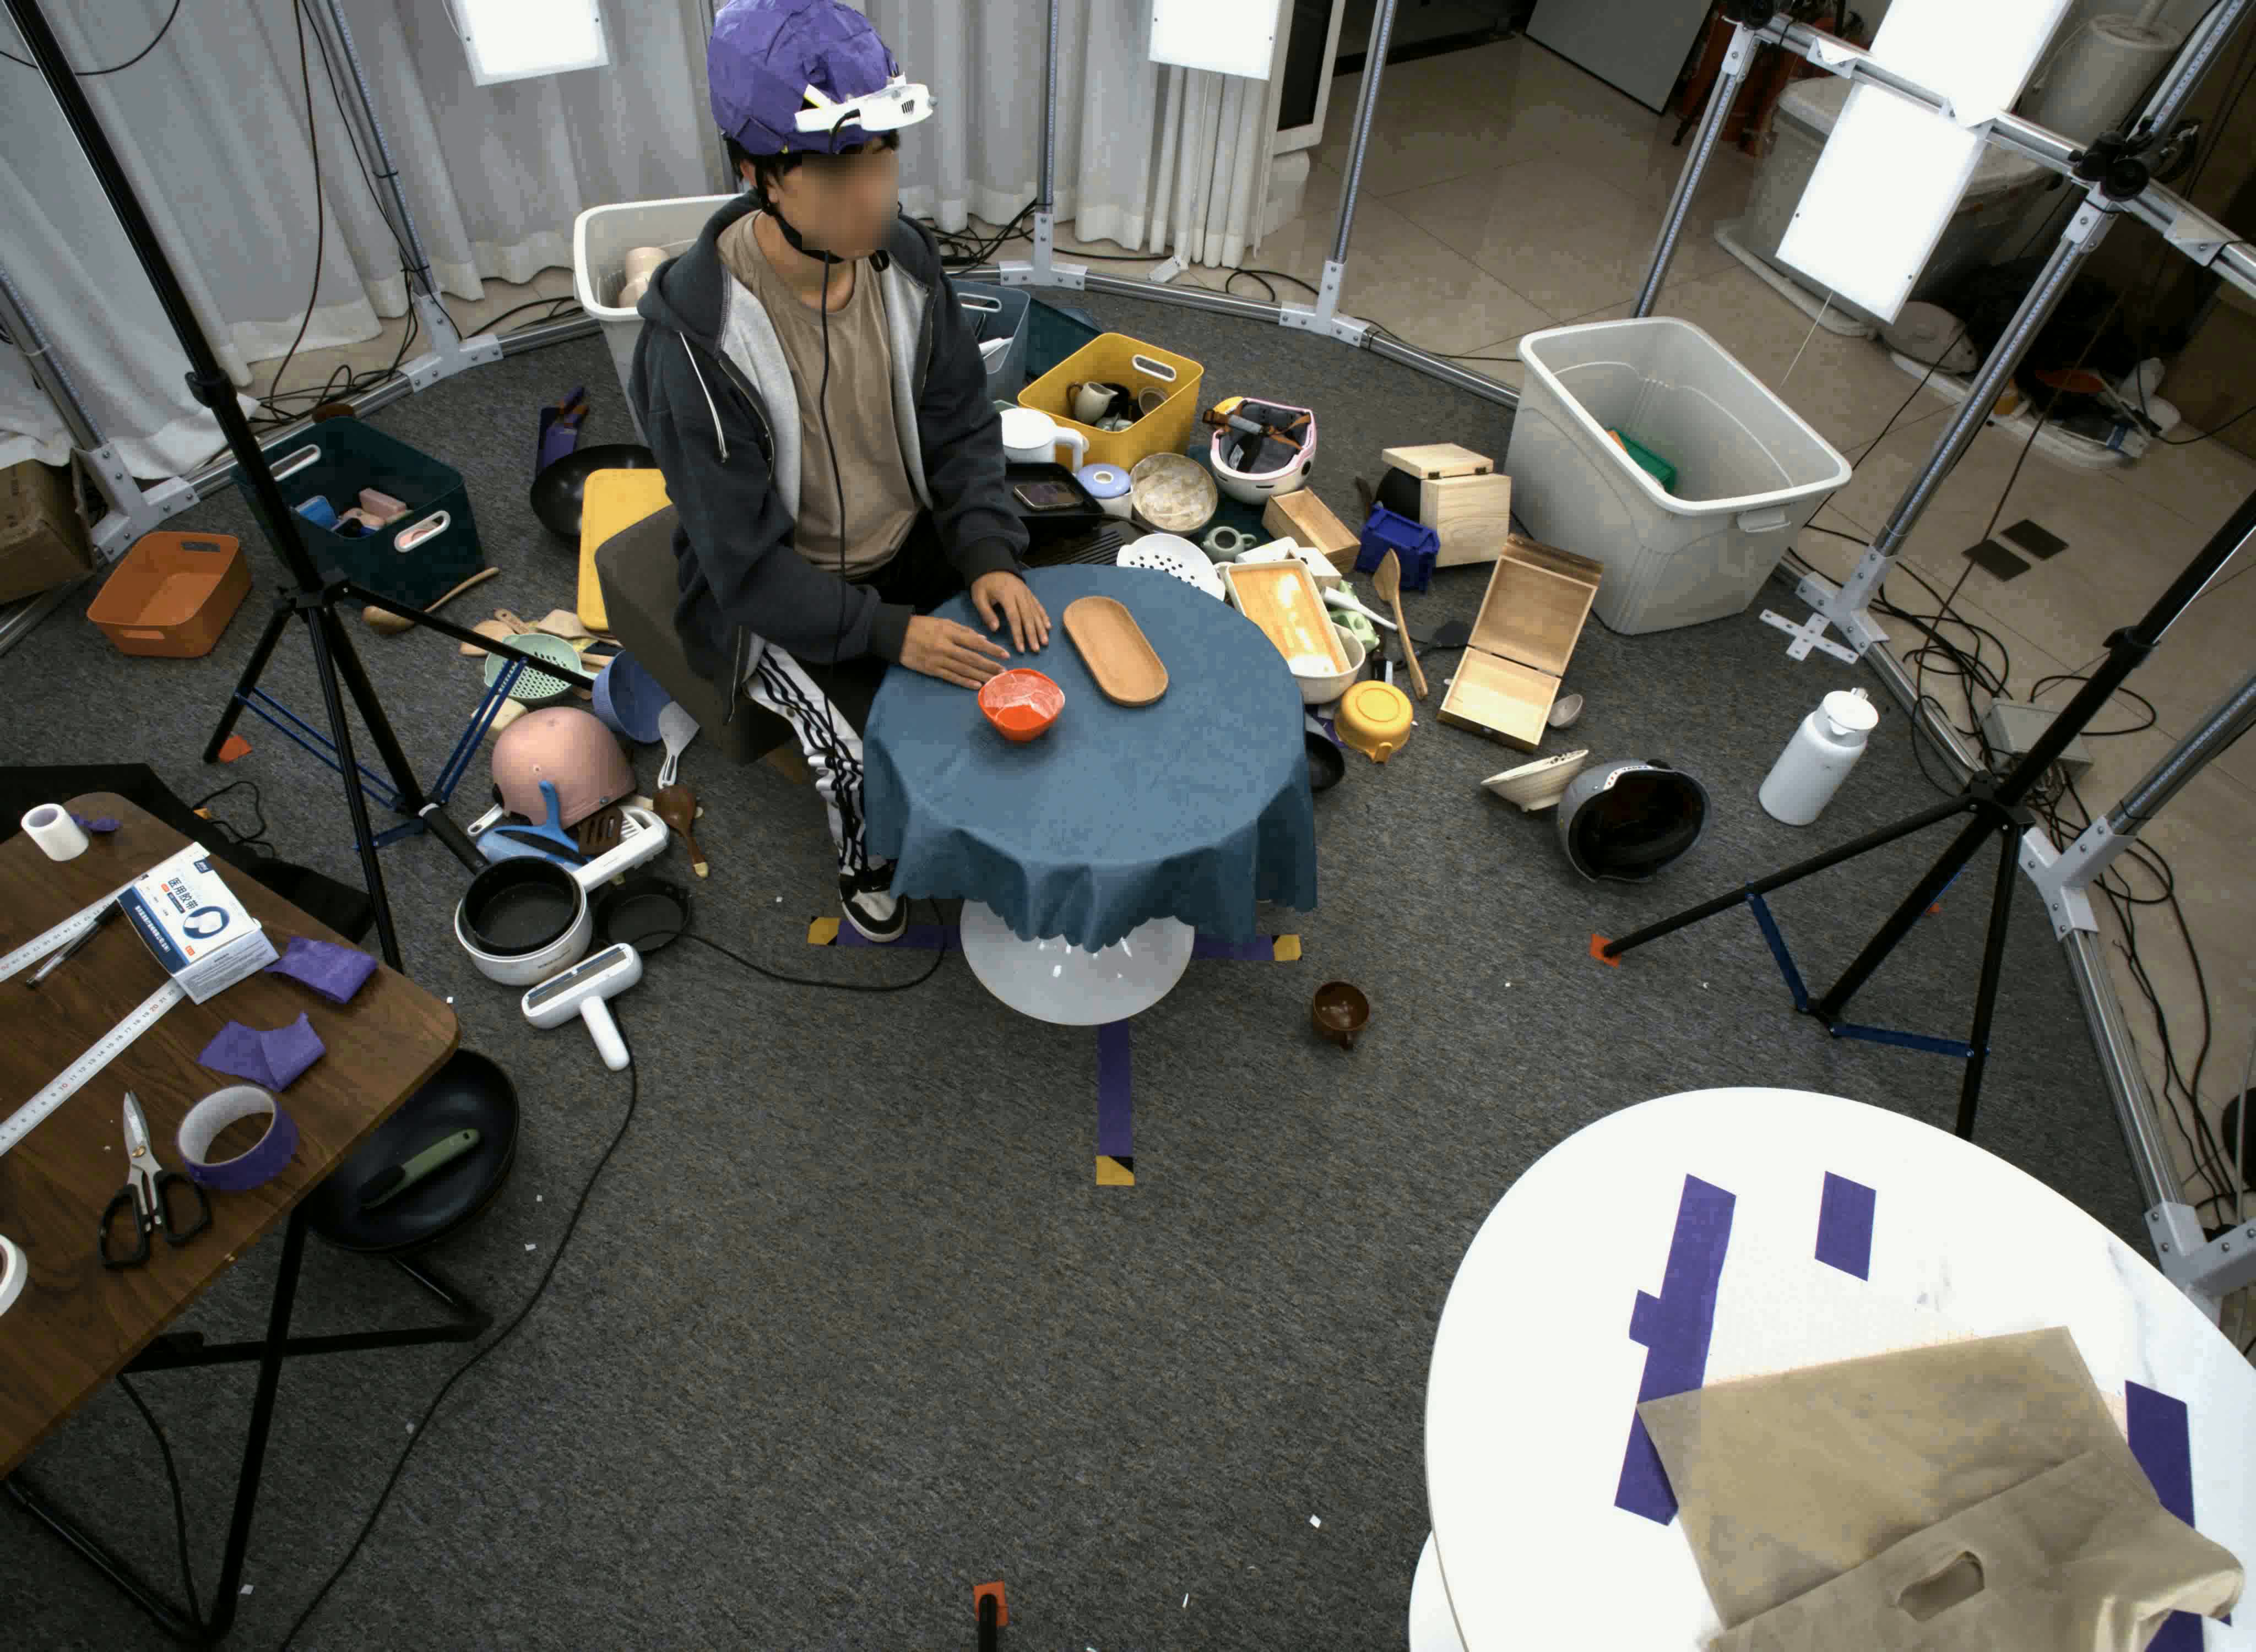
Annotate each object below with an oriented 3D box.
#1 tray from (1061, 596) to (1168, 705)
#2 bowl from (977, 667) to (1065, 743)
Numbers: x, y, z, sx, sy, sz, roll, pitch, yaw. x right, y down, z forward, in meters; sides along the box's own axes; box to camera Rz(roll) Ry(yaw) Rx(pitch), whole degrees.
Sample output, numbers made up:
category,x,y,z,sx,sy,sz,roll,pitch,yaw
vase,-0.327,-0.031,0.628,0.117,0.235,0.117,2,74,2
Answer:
category,x,y,z,sx,sy,sz,roll,pitch,yaw
tray,-0.022,-0.259,1.879,0.102,0.020,0.236,-17,51,-19
bowl,-0.146,-0.160,1.760,0.119,0.050,0.122,2,50,-3
